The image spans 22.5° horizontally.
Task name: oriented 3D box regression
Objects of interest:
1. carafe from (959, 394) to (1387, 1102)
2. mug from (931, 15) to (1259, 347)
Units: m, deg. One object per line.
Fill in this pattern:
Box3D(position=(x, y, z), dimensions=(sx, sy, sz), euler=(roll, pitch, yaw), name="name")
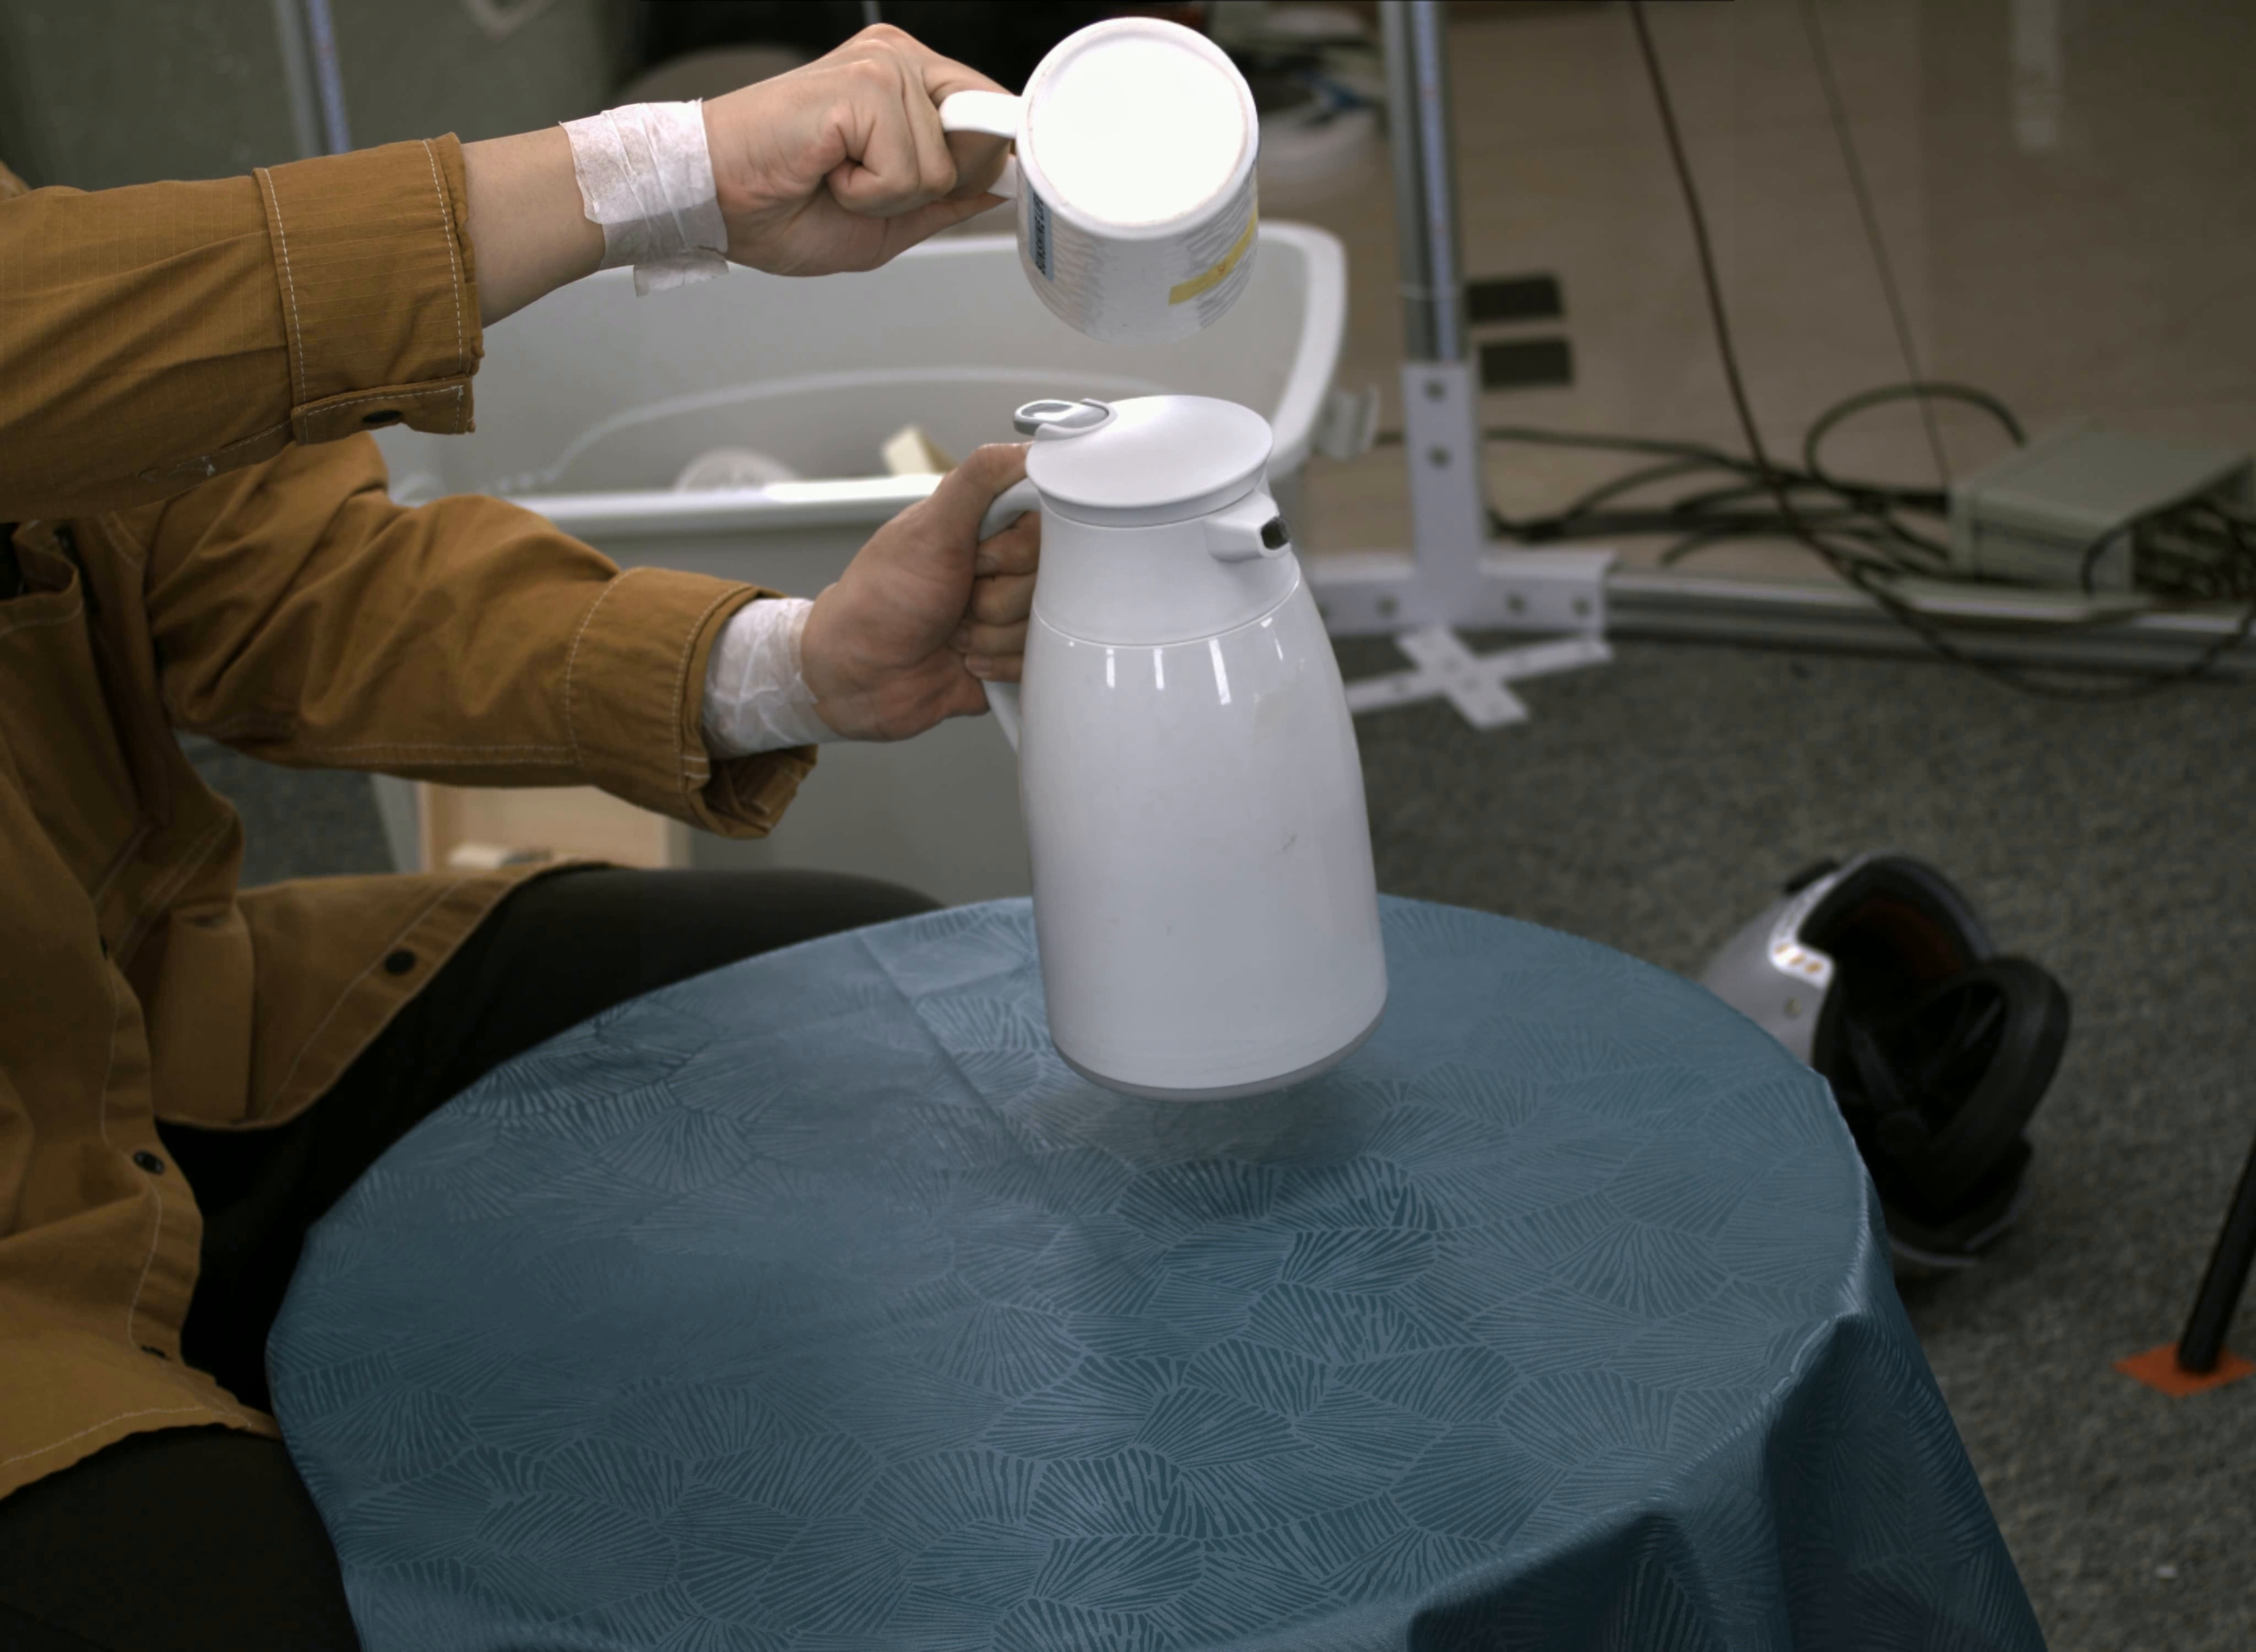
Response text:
Box3D(position=(0.006, -0.040, 2.125), dimensions=(0.166, 0.253, 0.131), euler=(19, 40, 39), name="carafe")
Box3D(position=(-0.012, -0.231, 1.971), dimensions=(0.118, 0.103, 0.084), euler=(18, 75, 5), name="mug")
